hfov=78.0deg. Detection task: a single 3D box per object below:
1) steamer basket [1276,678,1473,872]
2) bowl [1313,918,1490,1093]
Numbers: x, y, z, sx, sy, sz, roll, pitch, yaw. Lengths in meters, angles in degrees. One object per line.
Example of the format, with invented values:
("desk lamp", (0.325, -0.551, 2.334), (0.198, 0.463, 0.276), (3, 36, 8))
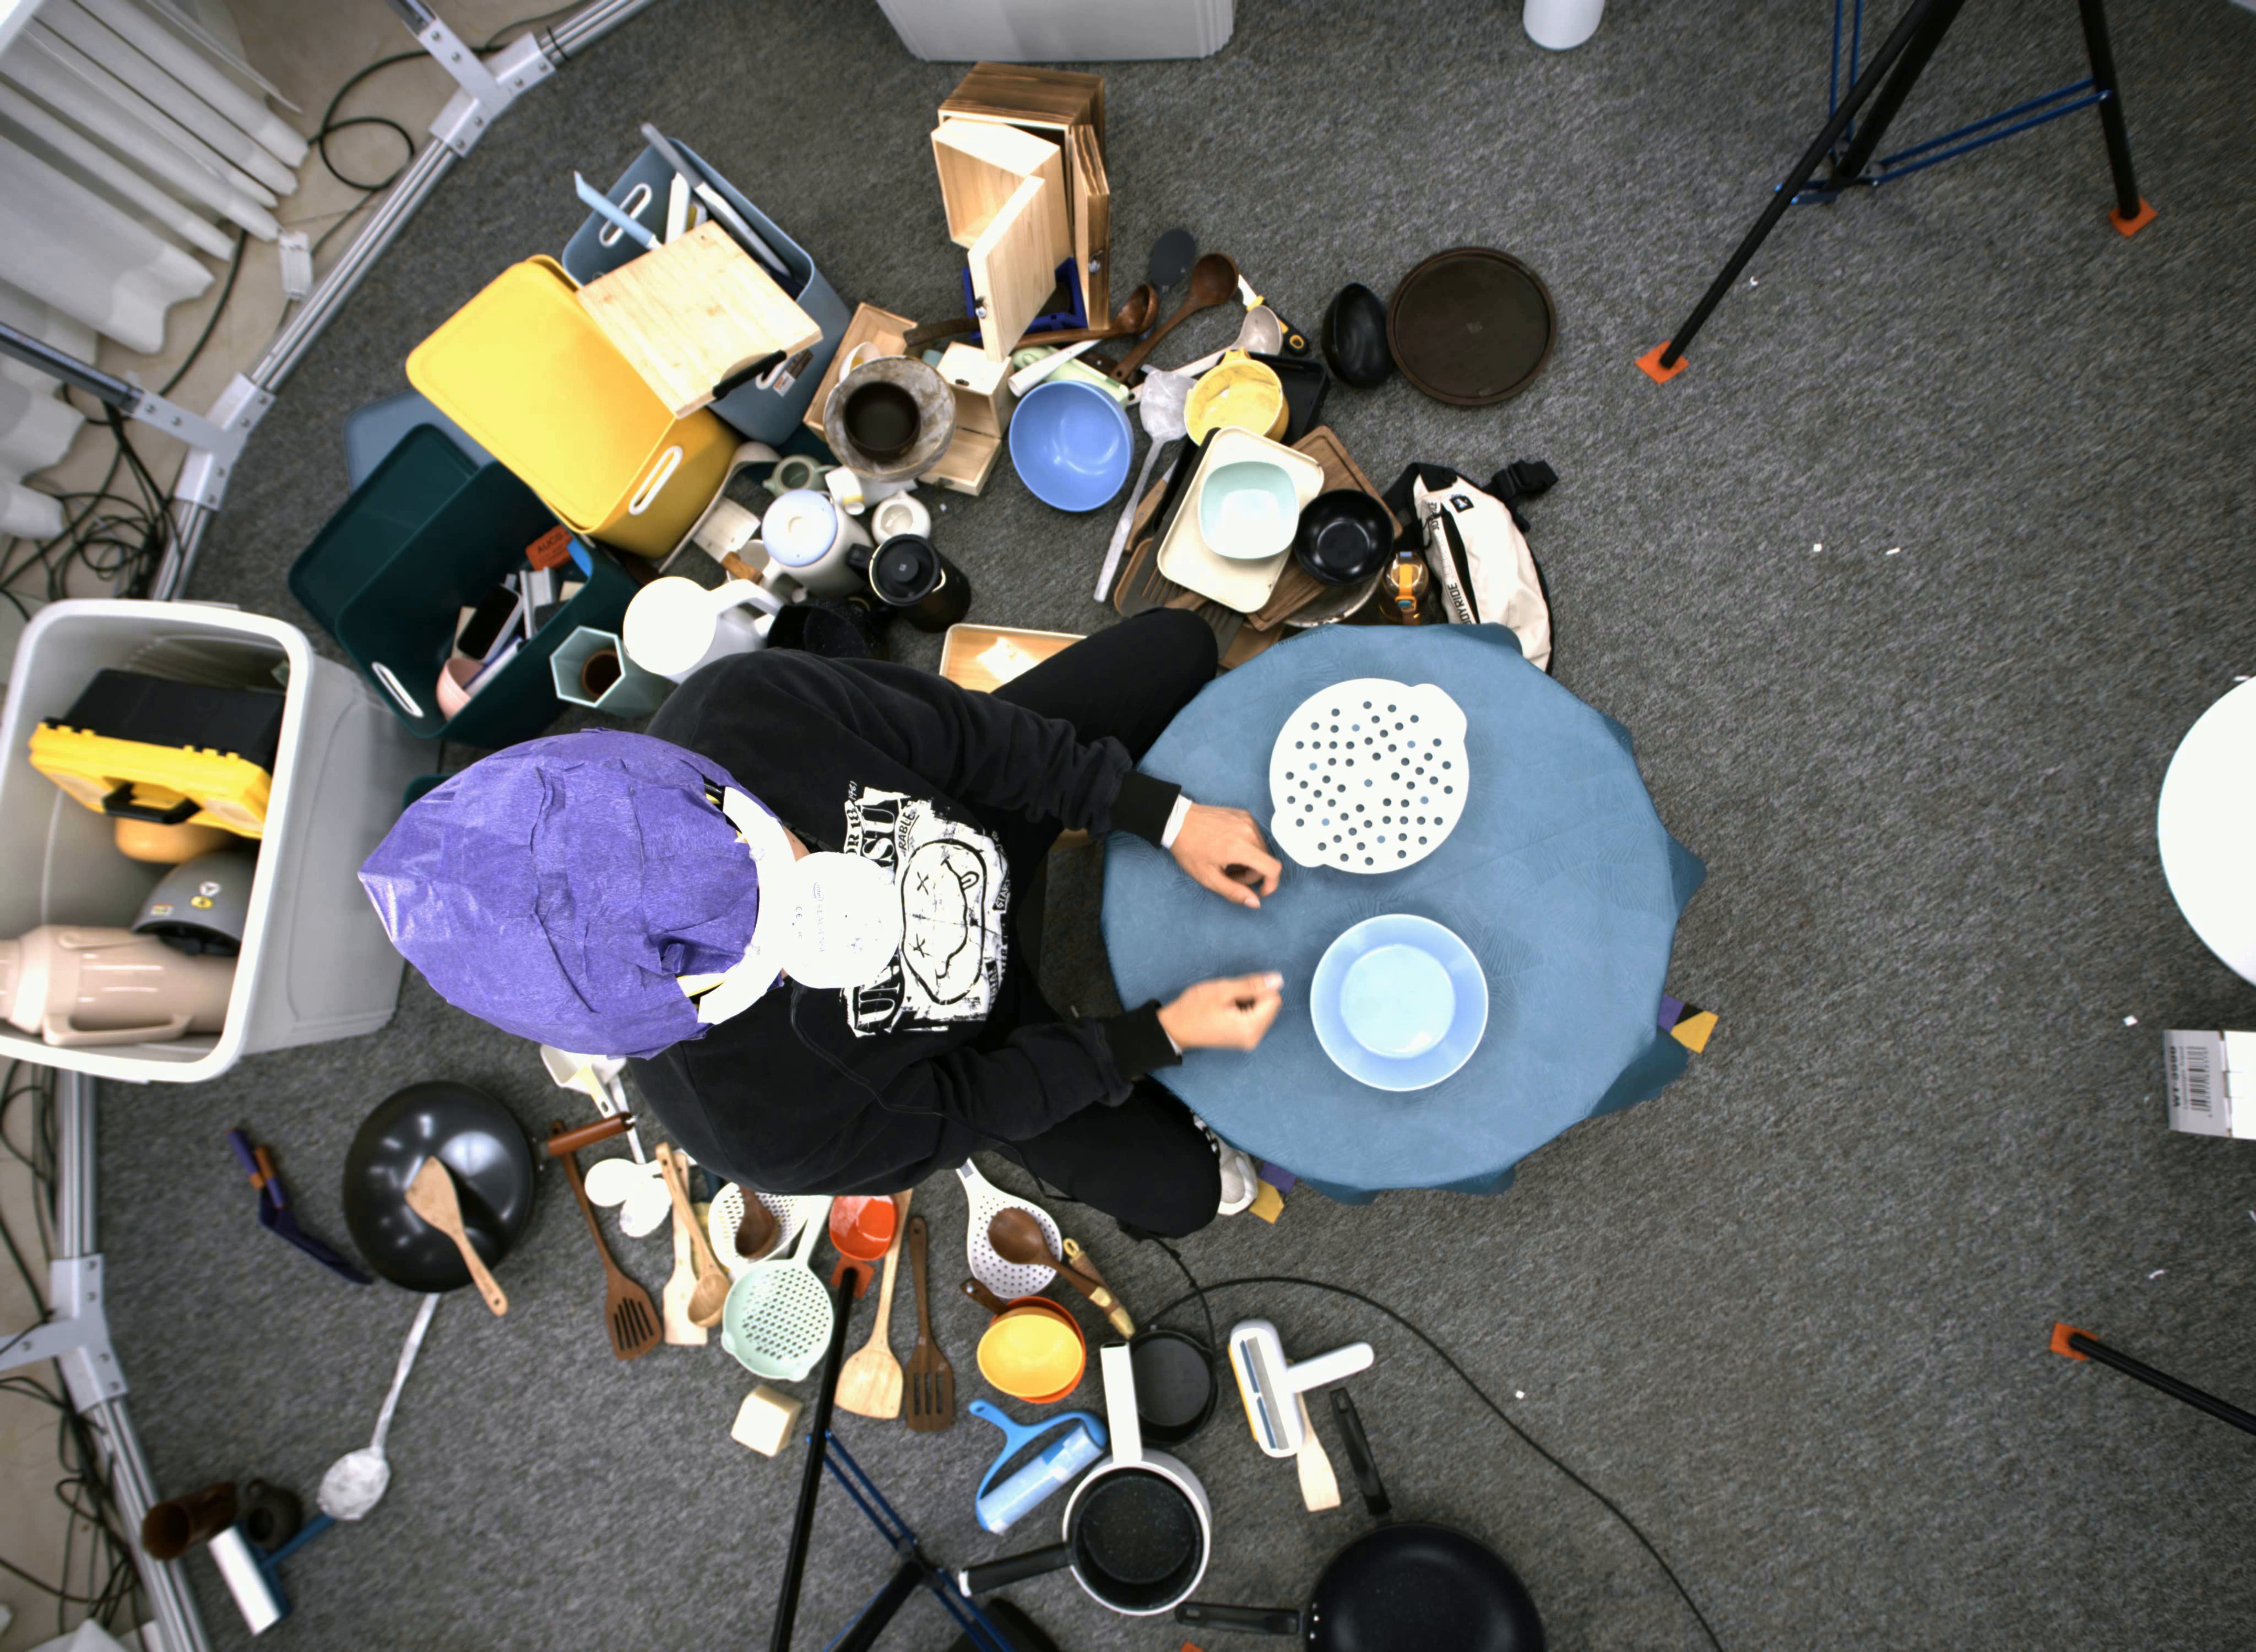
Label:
("steamer basket", (0.256, -0.052, 1.441), (0.231, 0.069, 0.201), (-43, 80, 3))
("bowl", (0.280, 0.183, 1.420), (0.177, 0.070, 0.175), (-1, 85, 10))
